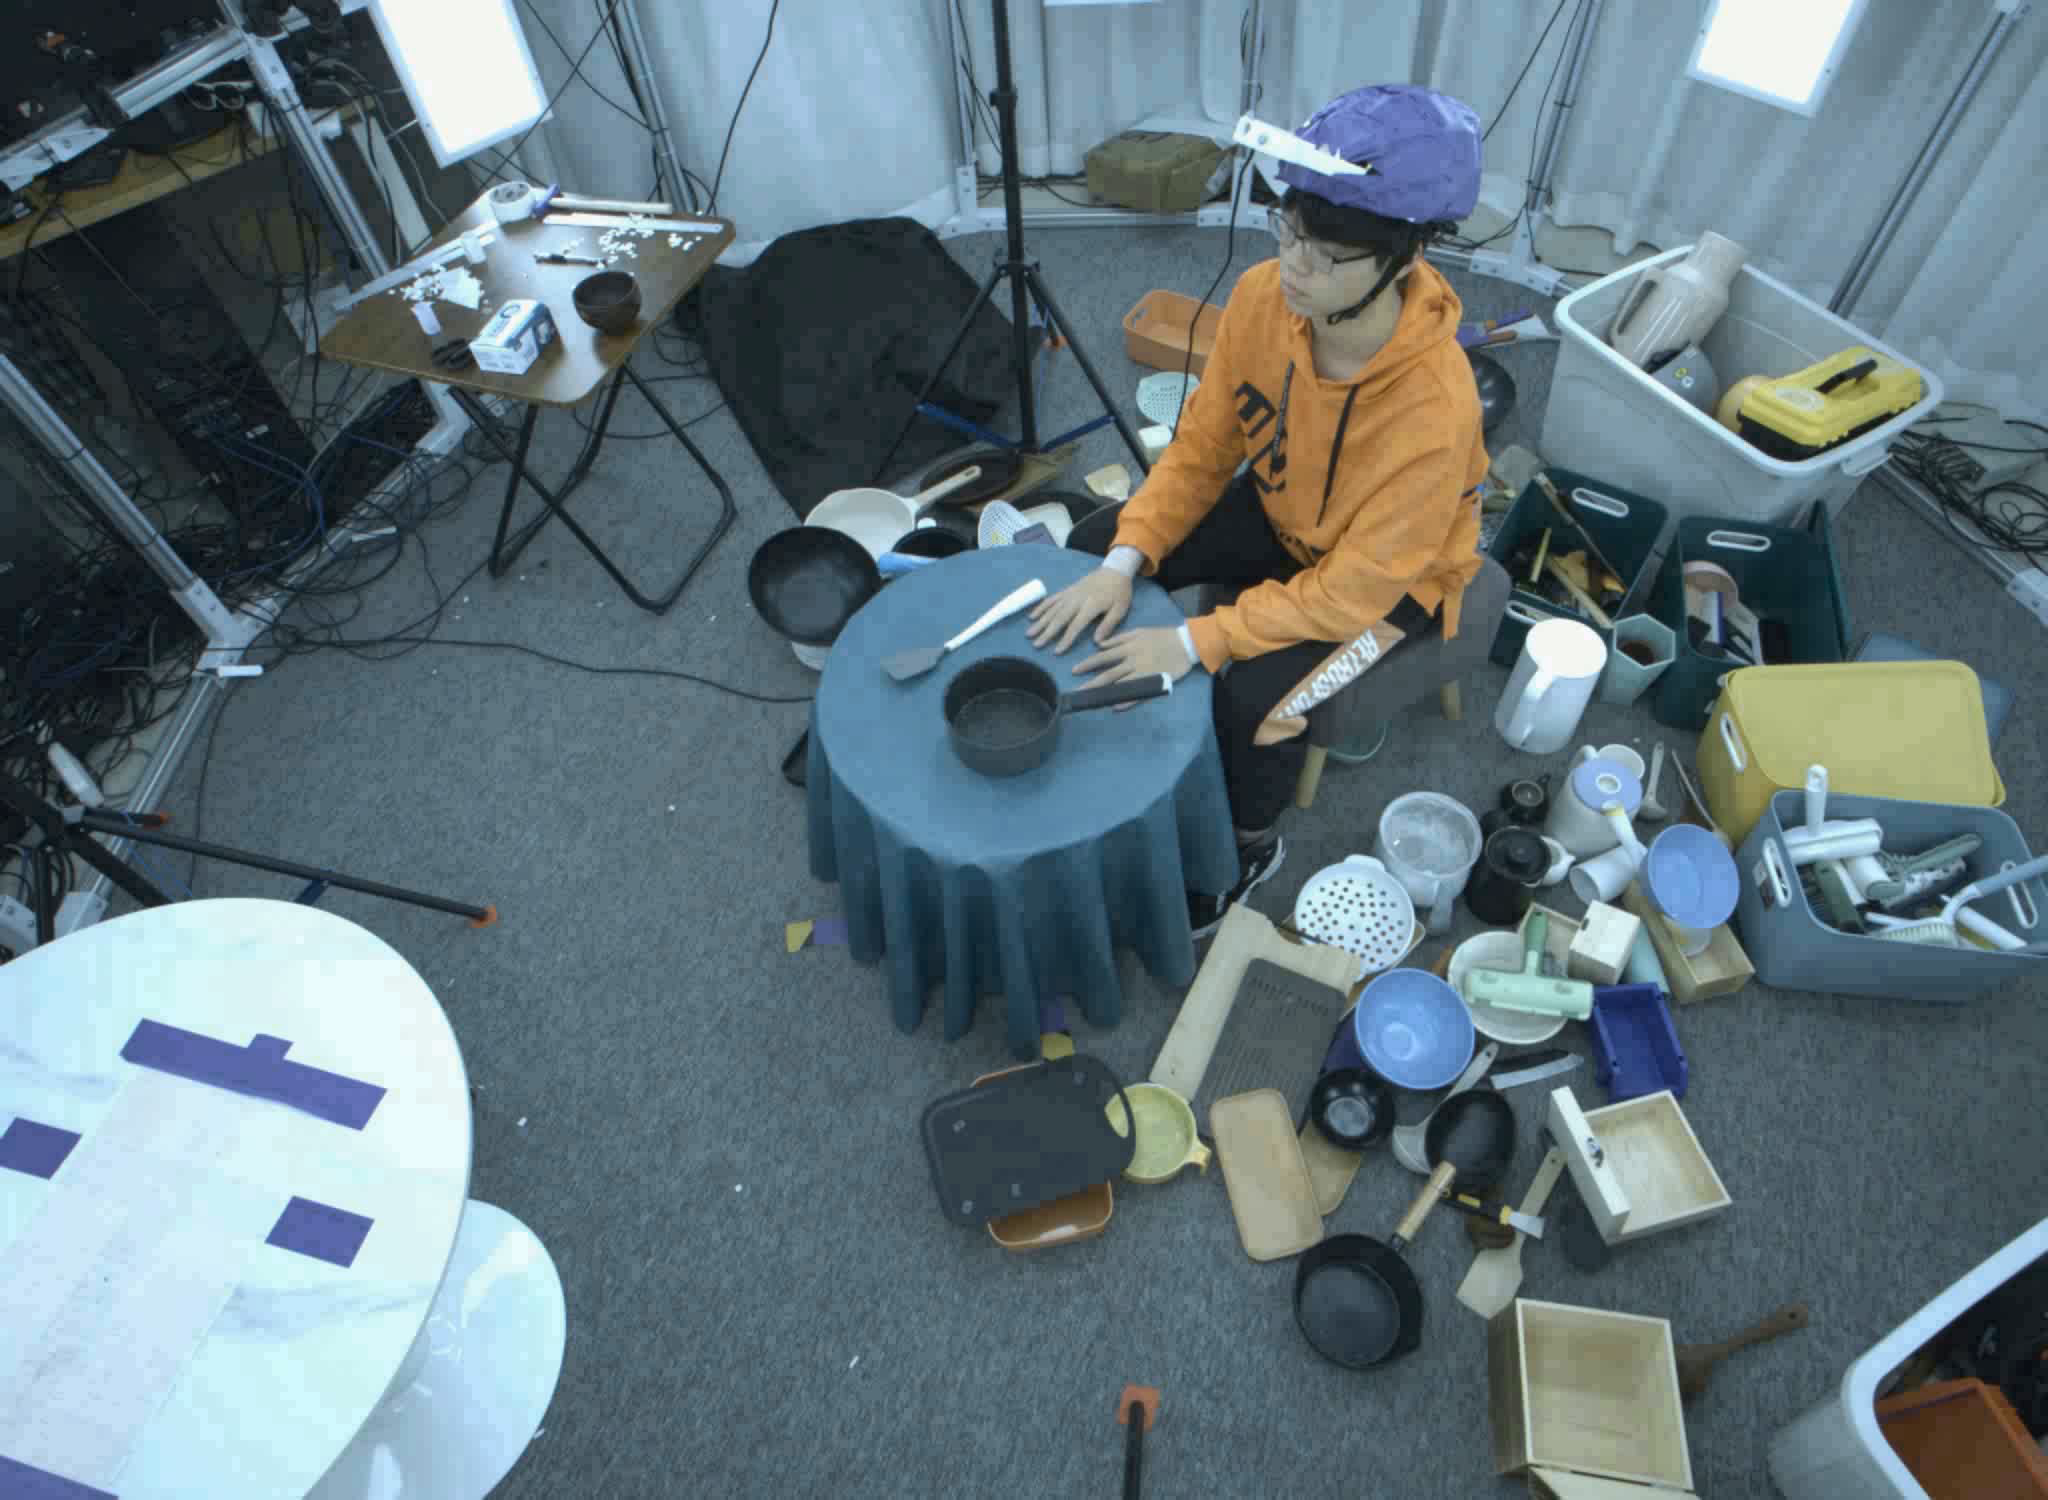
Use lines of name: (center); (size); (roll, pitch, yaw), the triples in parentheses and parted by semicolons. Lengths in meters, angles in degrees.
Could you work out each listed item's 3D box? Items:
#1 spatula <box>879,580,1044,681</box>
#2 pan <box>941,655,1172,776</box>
spatula: (-0.092, -0.184, 1.901); (0.290, 0.032, 0.058); (-32, 64, -20)
pan: (0.049, -0.056, 1.773); (0.328, 0.087, 0.170); (-5, 55, 1)
